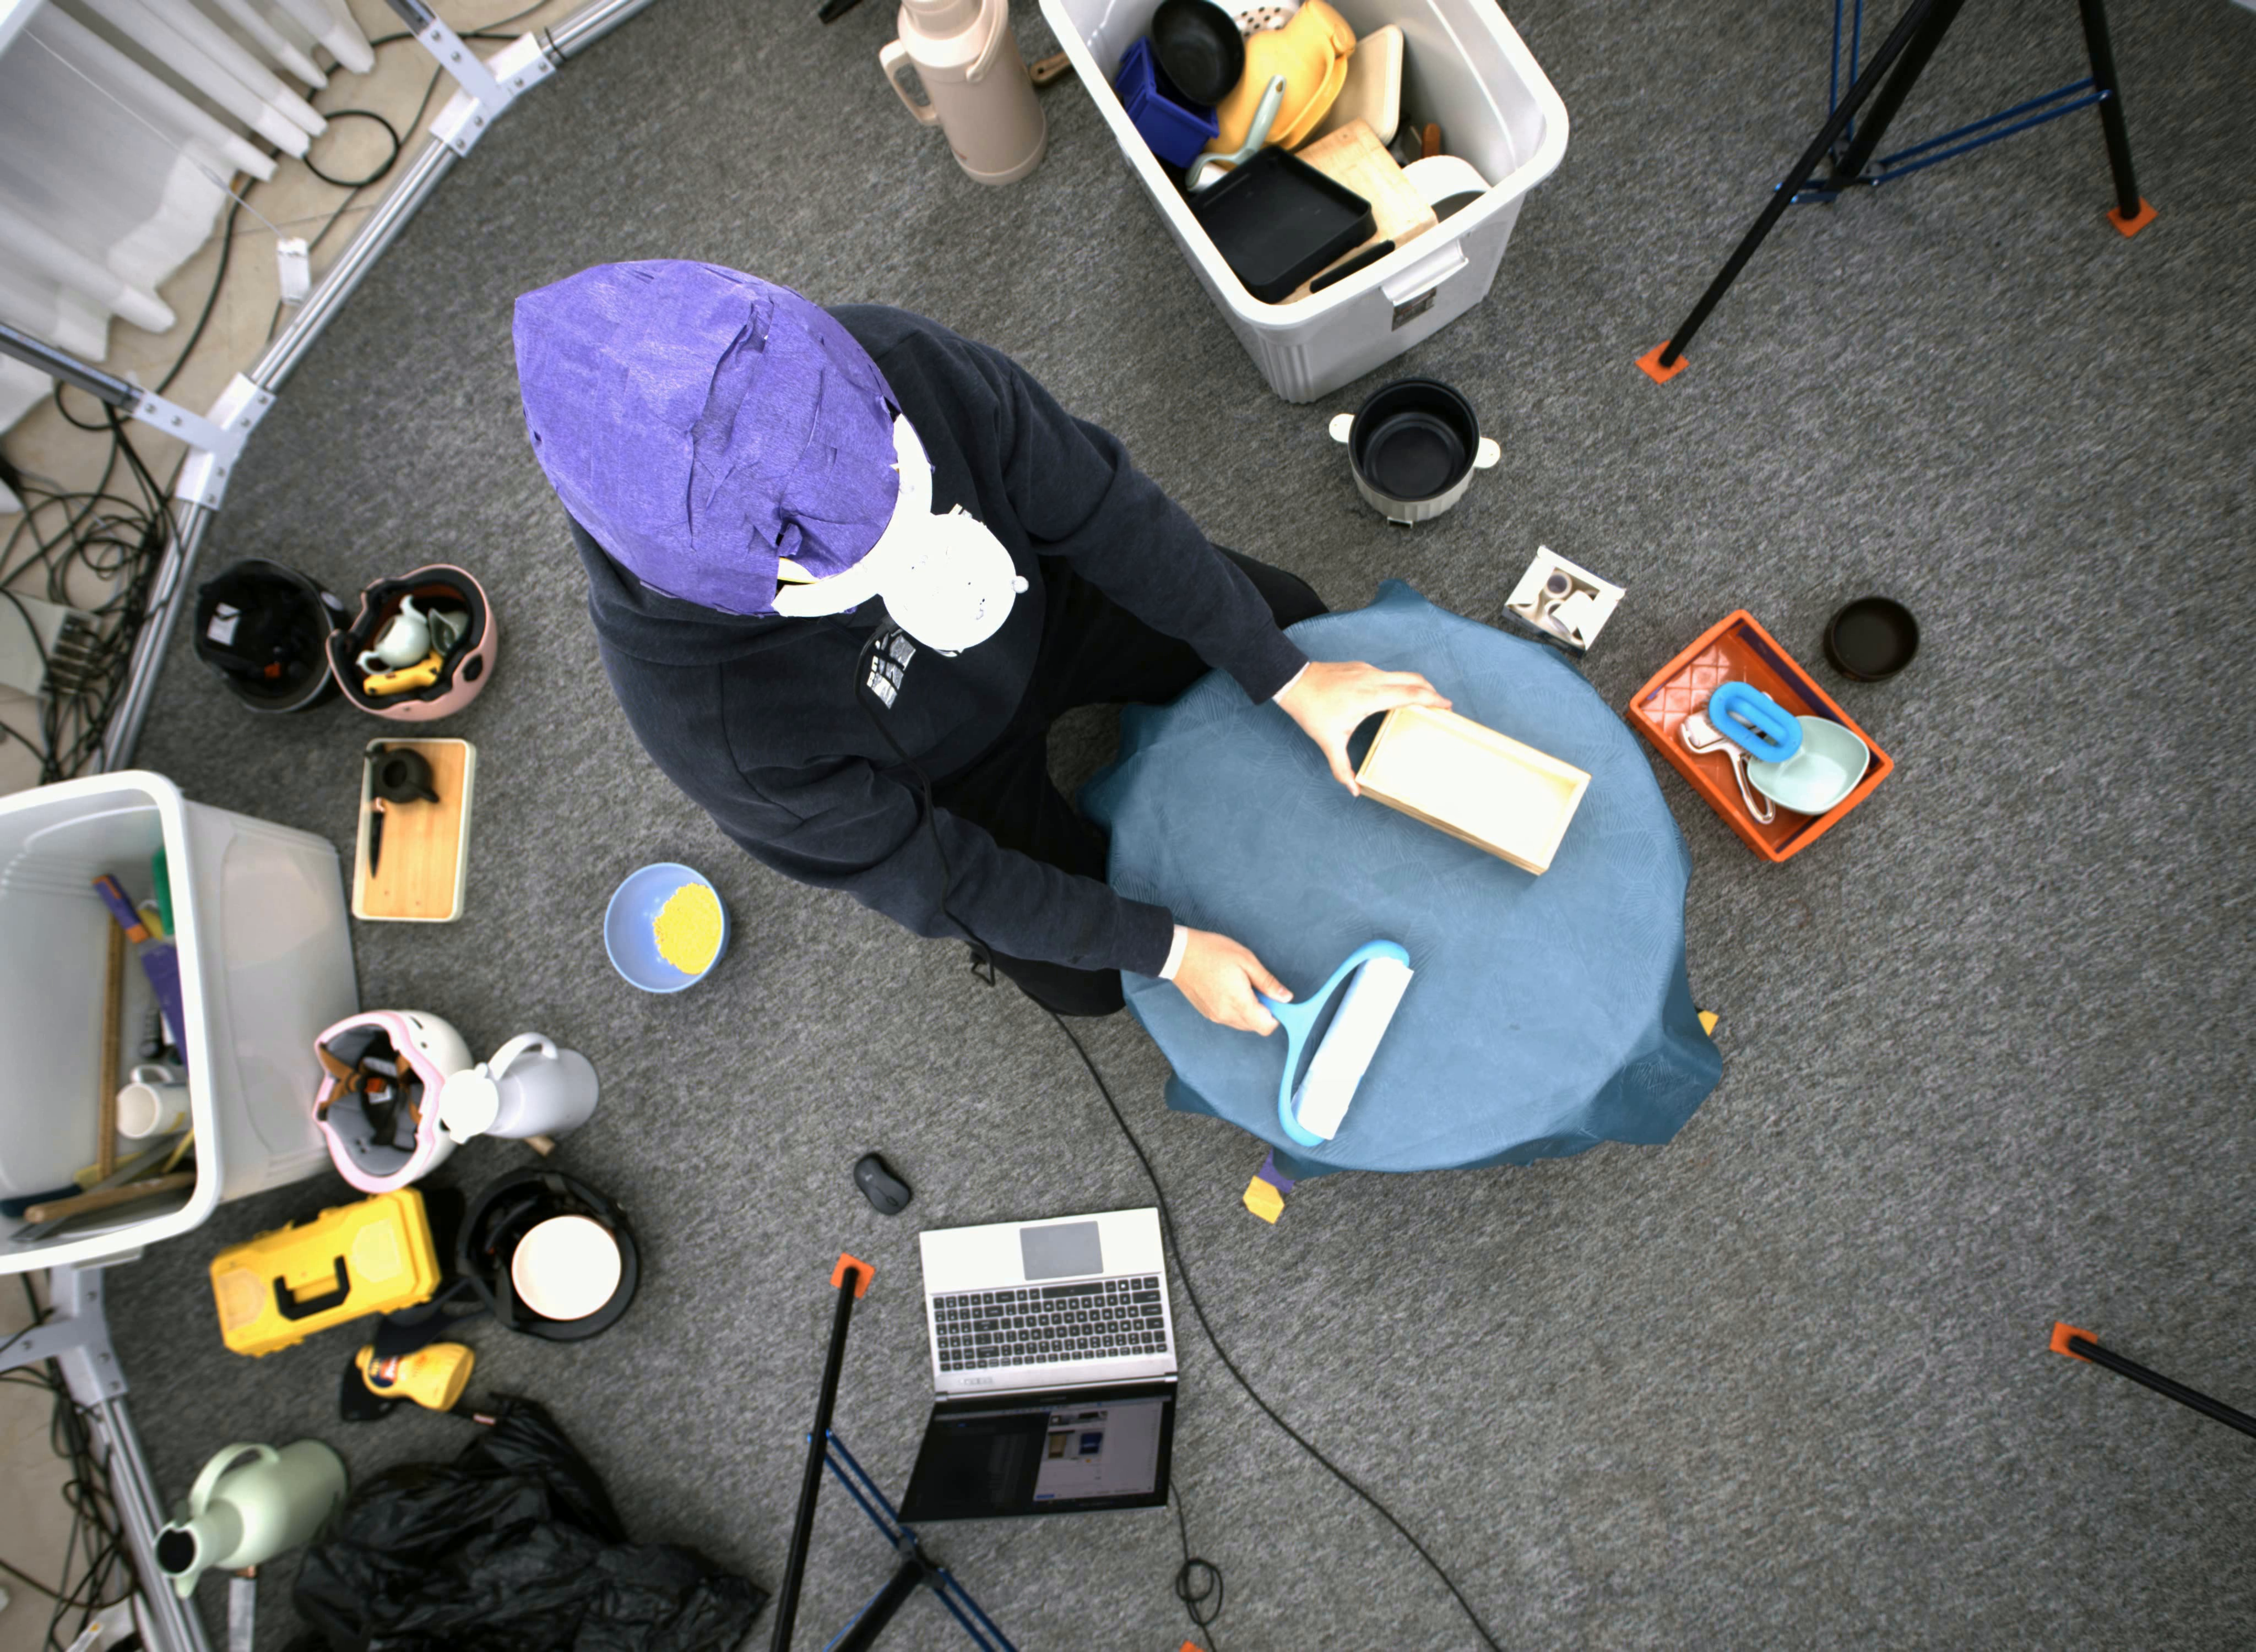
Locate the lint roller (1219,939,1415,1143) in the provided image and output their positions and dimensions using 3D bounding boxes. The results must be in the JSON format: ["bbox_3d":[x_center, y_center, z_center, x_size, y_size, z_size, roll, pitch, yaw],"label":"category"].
[{"bbox_3d":[0.176,0.198,1.435,0.180,0.068,0.229,24,94,3],"label":"lint roller"}]

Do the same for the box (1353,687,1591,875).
[{"bbox_3d":[0.350,-0.047,1.412,0.211,0.080,0.107,25,90,11],"label":"box"}]
